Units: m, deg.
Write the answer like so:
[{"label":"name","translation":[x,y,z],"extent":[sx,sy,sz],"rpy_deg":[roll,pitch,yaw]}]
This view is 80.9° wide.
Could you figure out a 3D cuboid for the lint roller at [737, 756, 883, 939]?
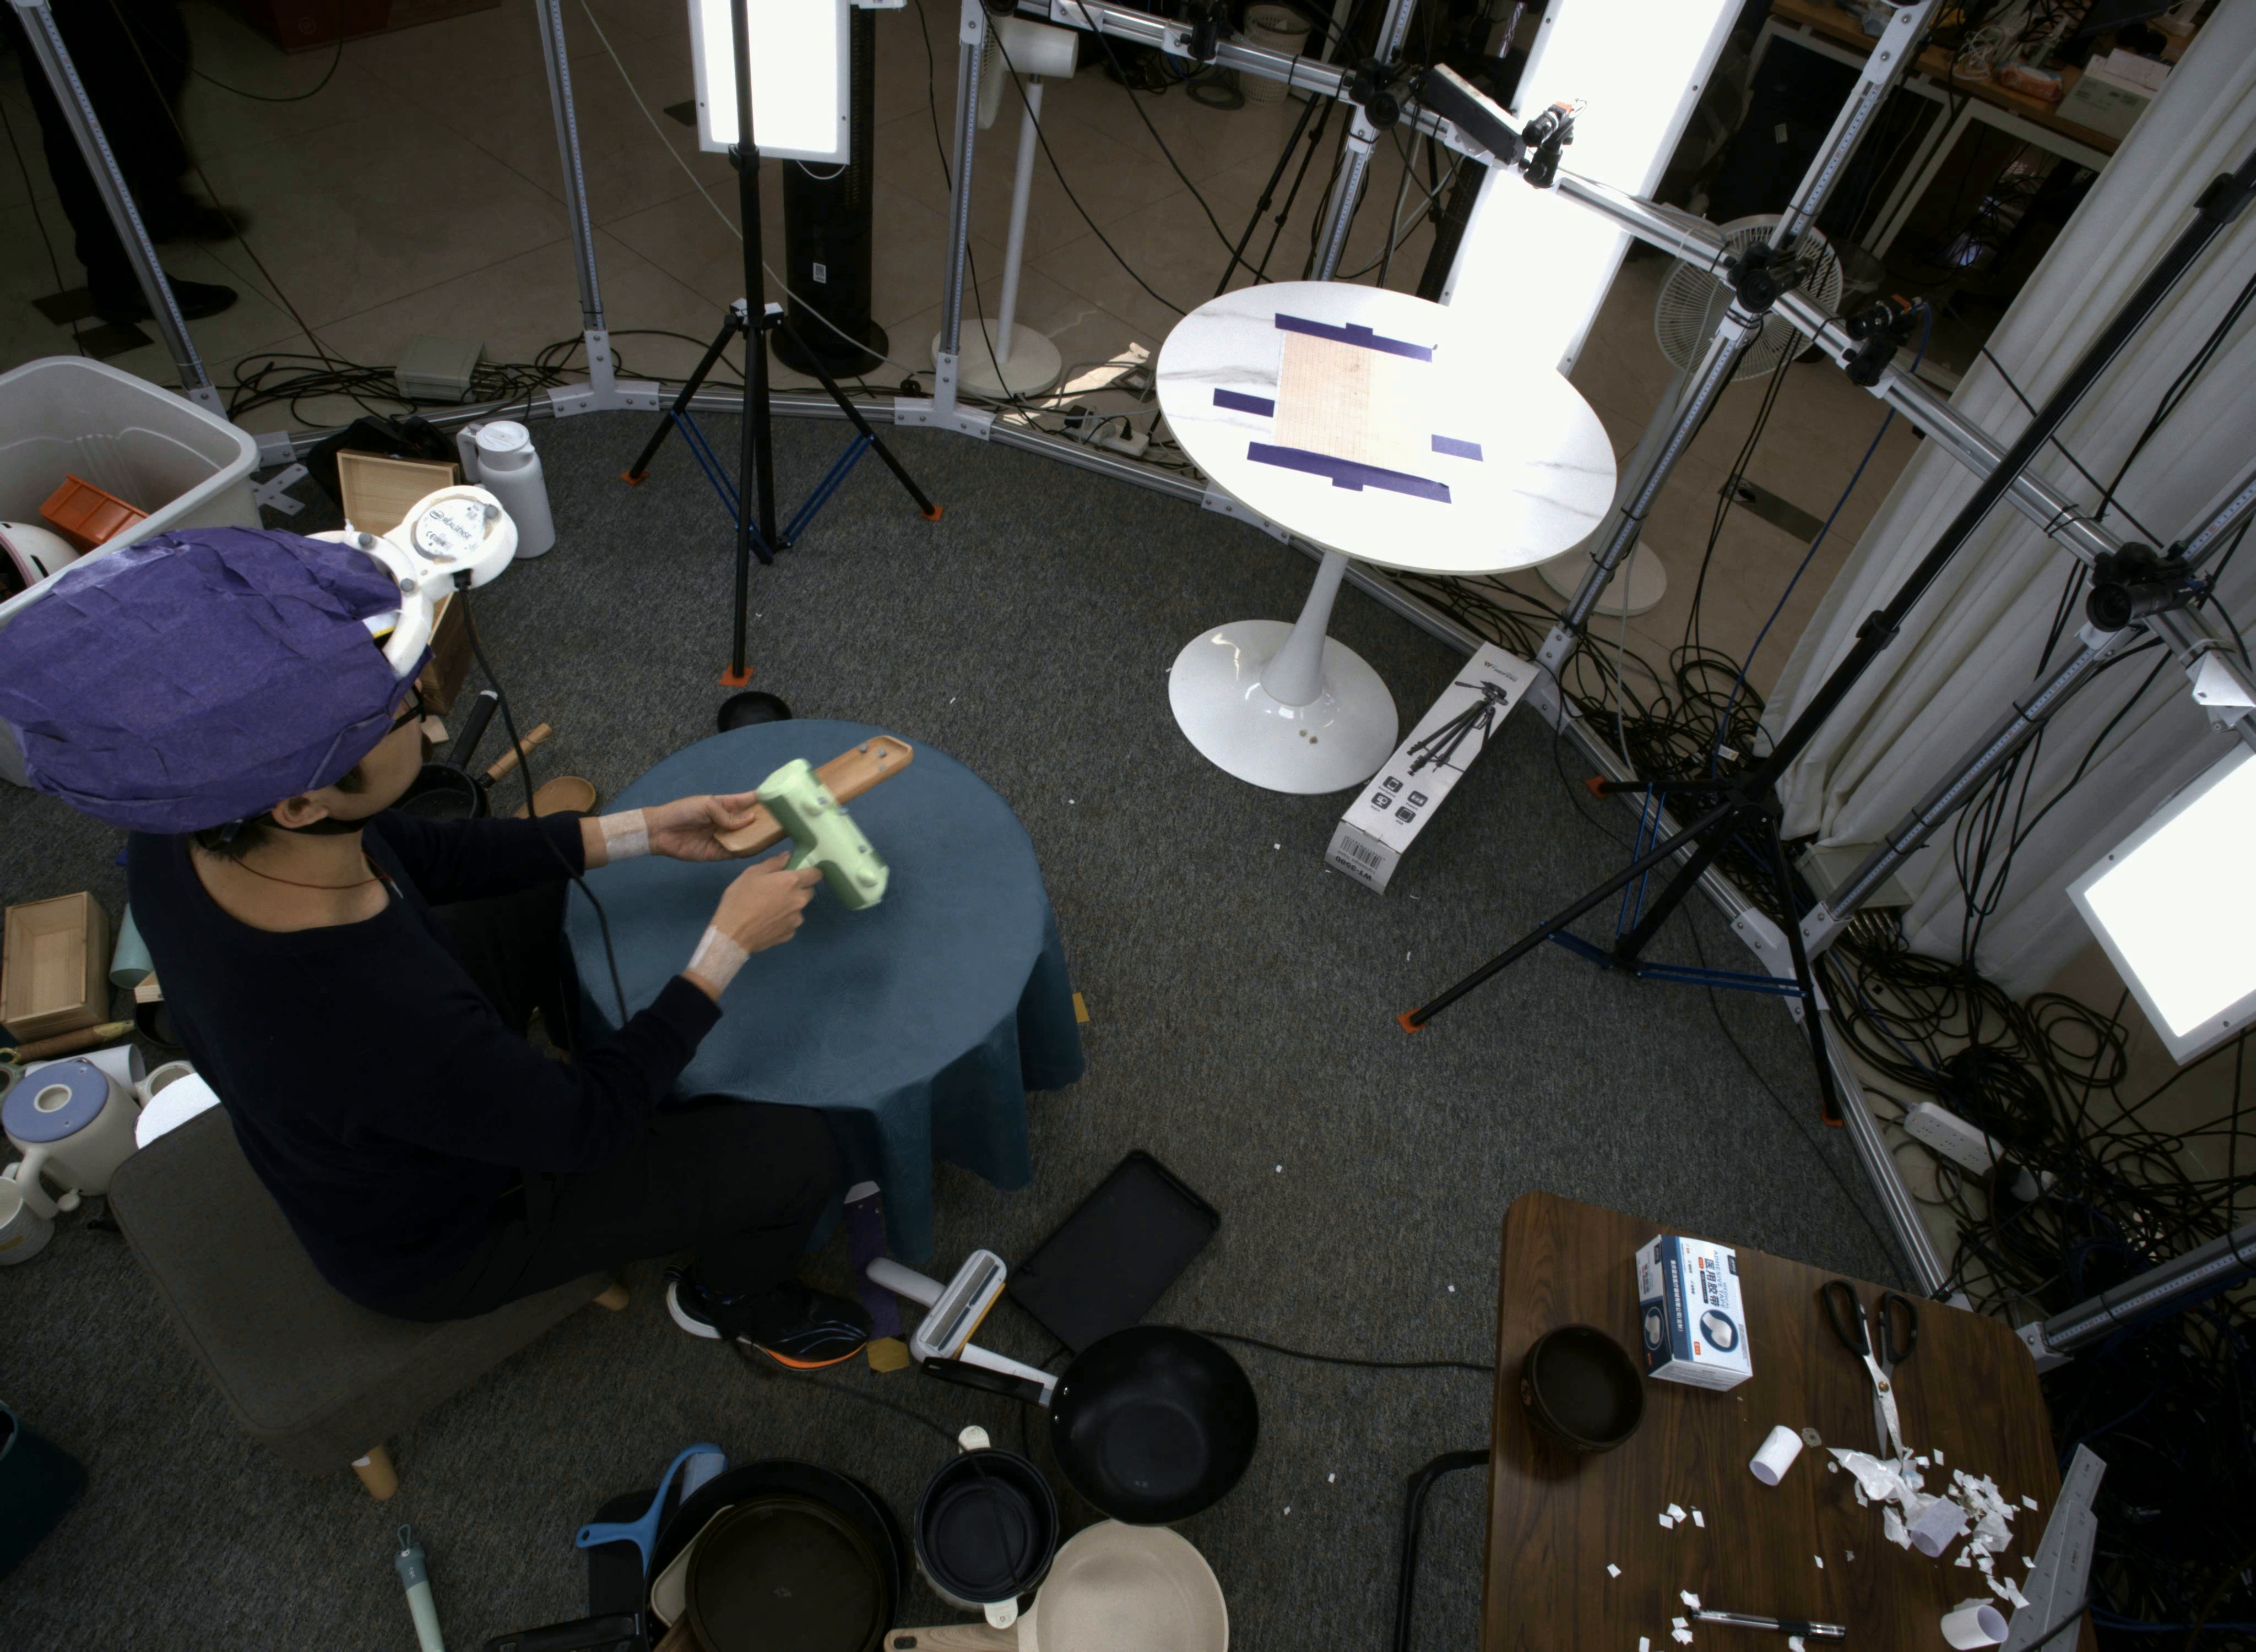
[{"label":"lint roller","translation":[-0.366,0.051,1.451],"extent":[0.080,0.206,0.182],"rpy_deg":[-5,43,32]}]

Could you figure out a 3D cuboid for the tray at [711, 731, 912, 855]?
[{"label":"tray","translation":[-0.379,-0.042,1.557],"extent":[0.251,0.023,0.126],"rpy_deg":[-33,25,-21]}]
